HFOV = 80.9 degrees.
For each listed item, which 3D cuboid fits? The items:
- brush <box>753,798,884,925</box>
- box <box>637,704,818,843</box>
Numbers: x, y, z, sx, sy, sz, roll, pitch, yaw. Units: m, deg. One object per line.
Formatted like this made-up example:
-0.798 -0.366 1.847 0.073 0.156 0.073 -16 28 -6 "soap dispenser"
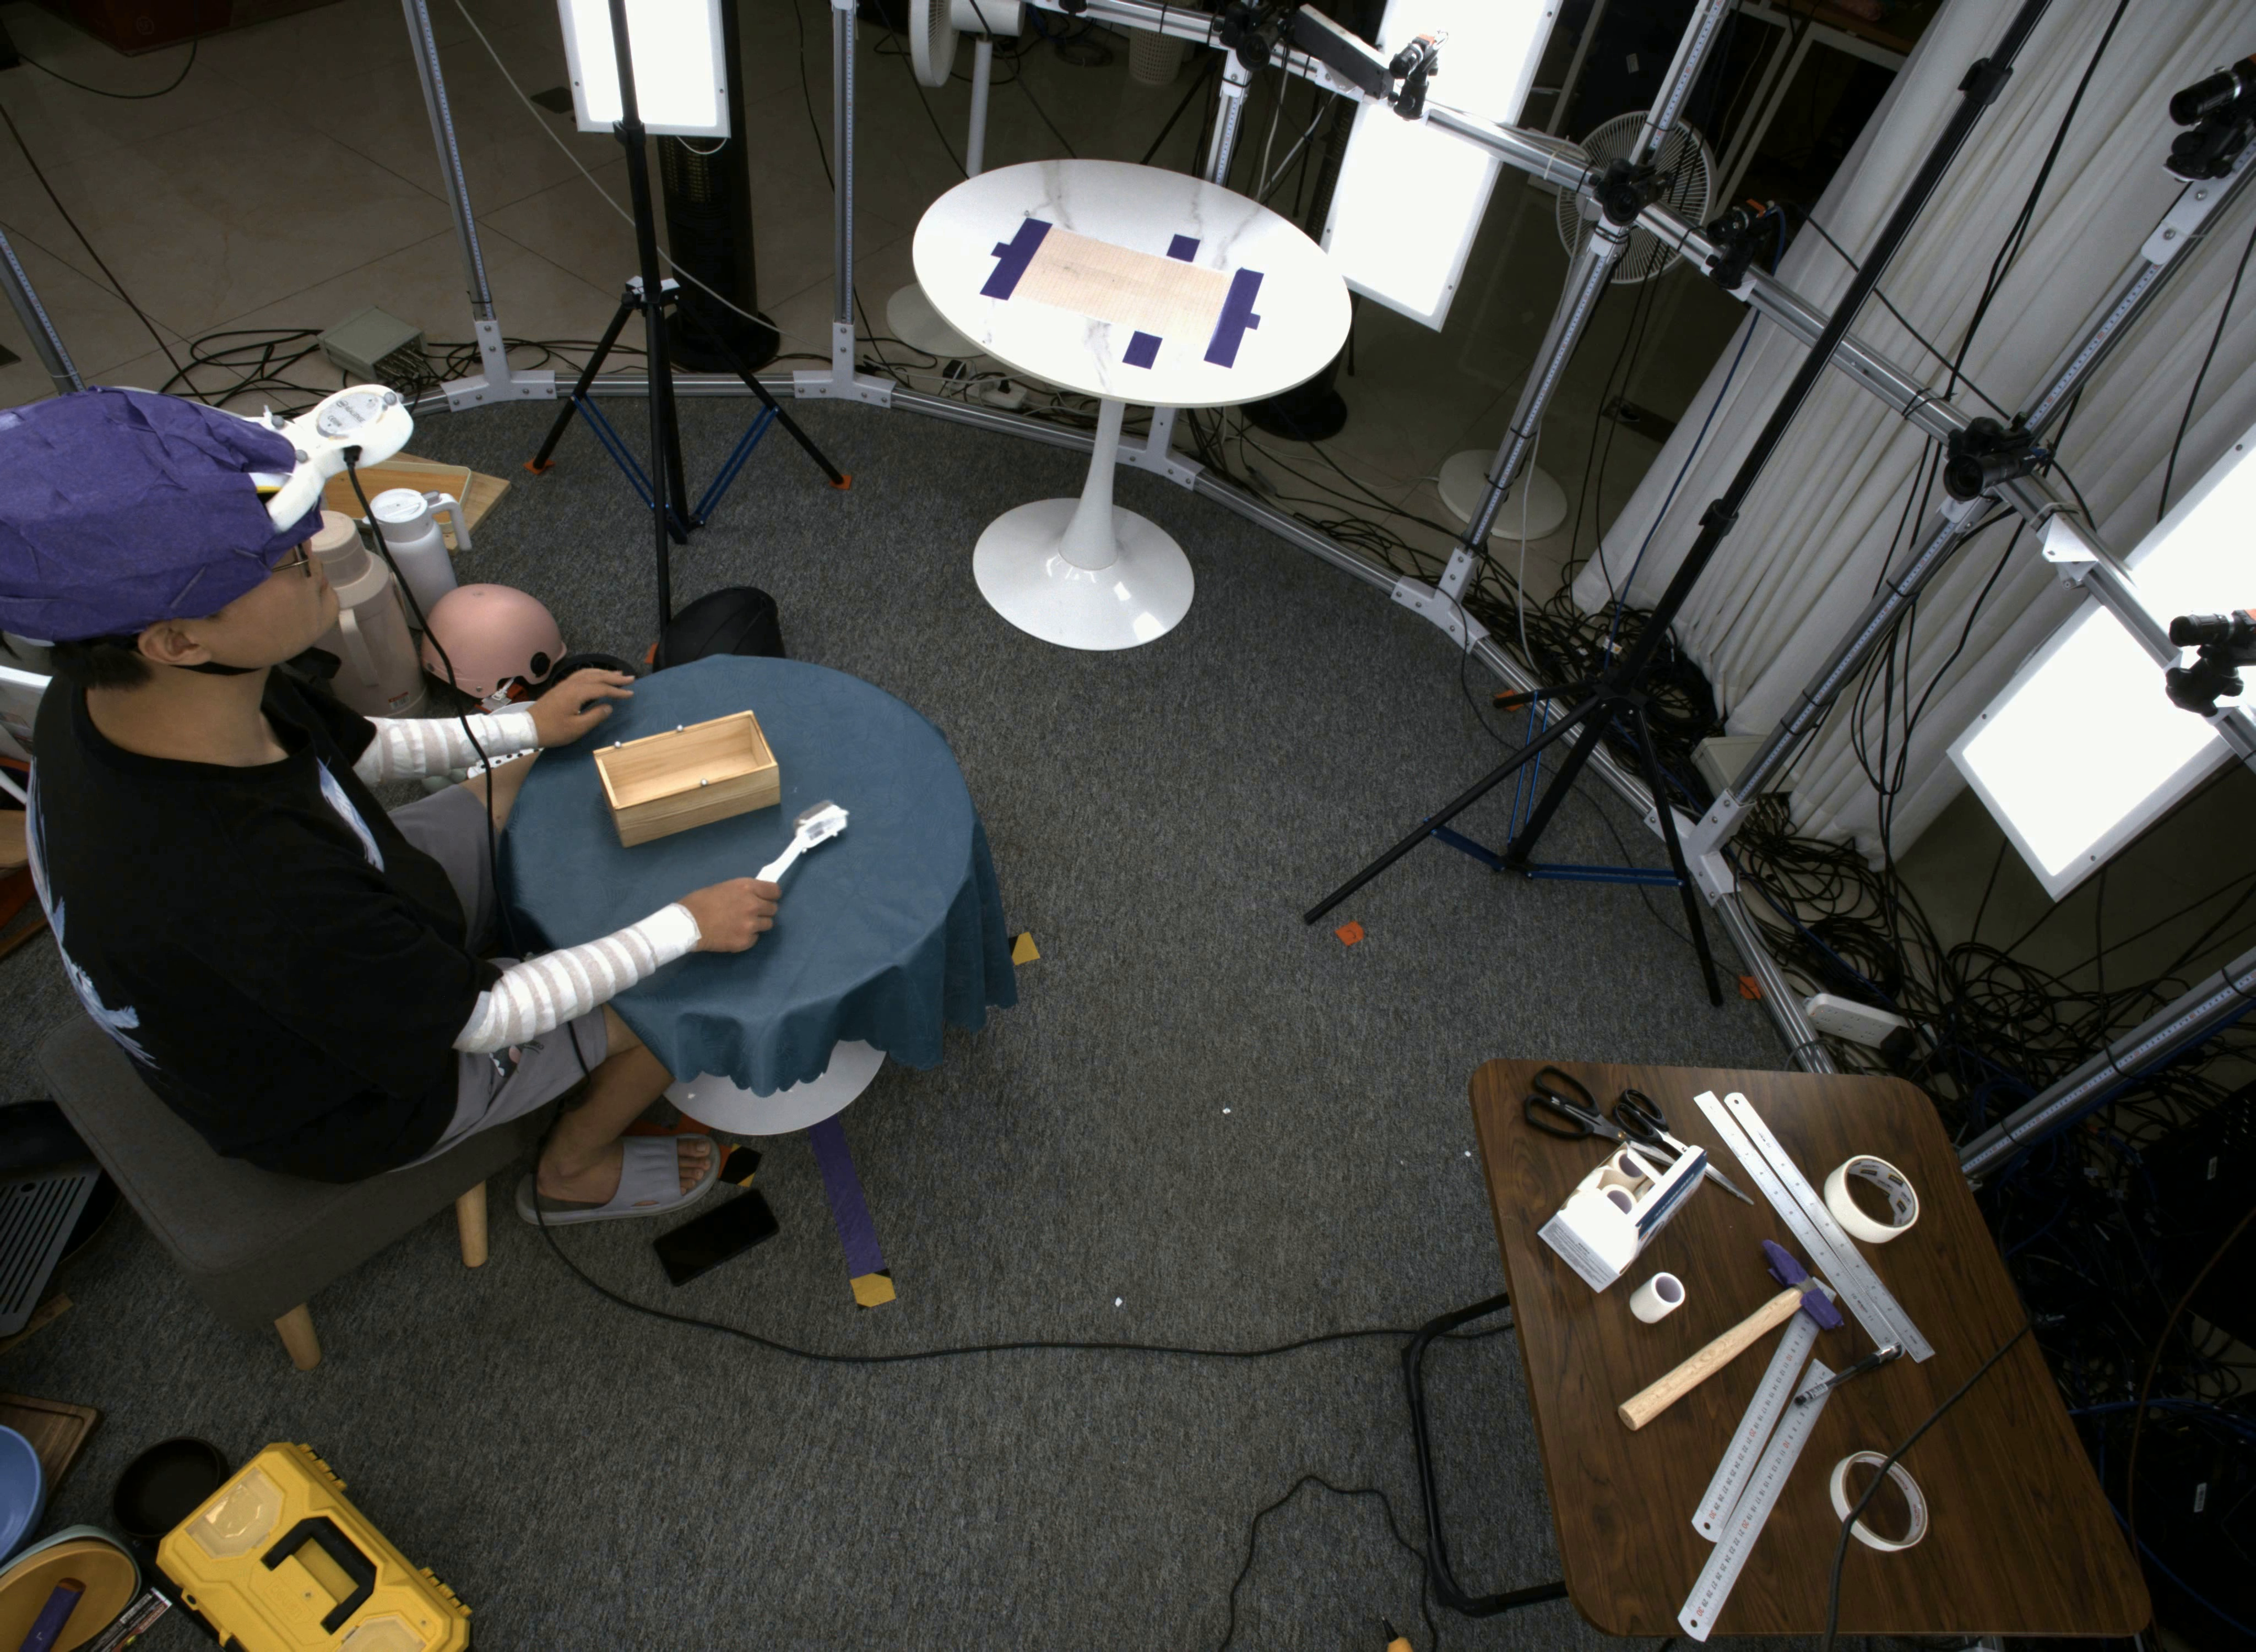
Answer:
-0.406 0.041 1.671 0.048 0.035 0.243 19 46 29 "brush"
-0.530 -0.072 1.710 0.212 0.082 0.105 -18 60 -24 "box"
